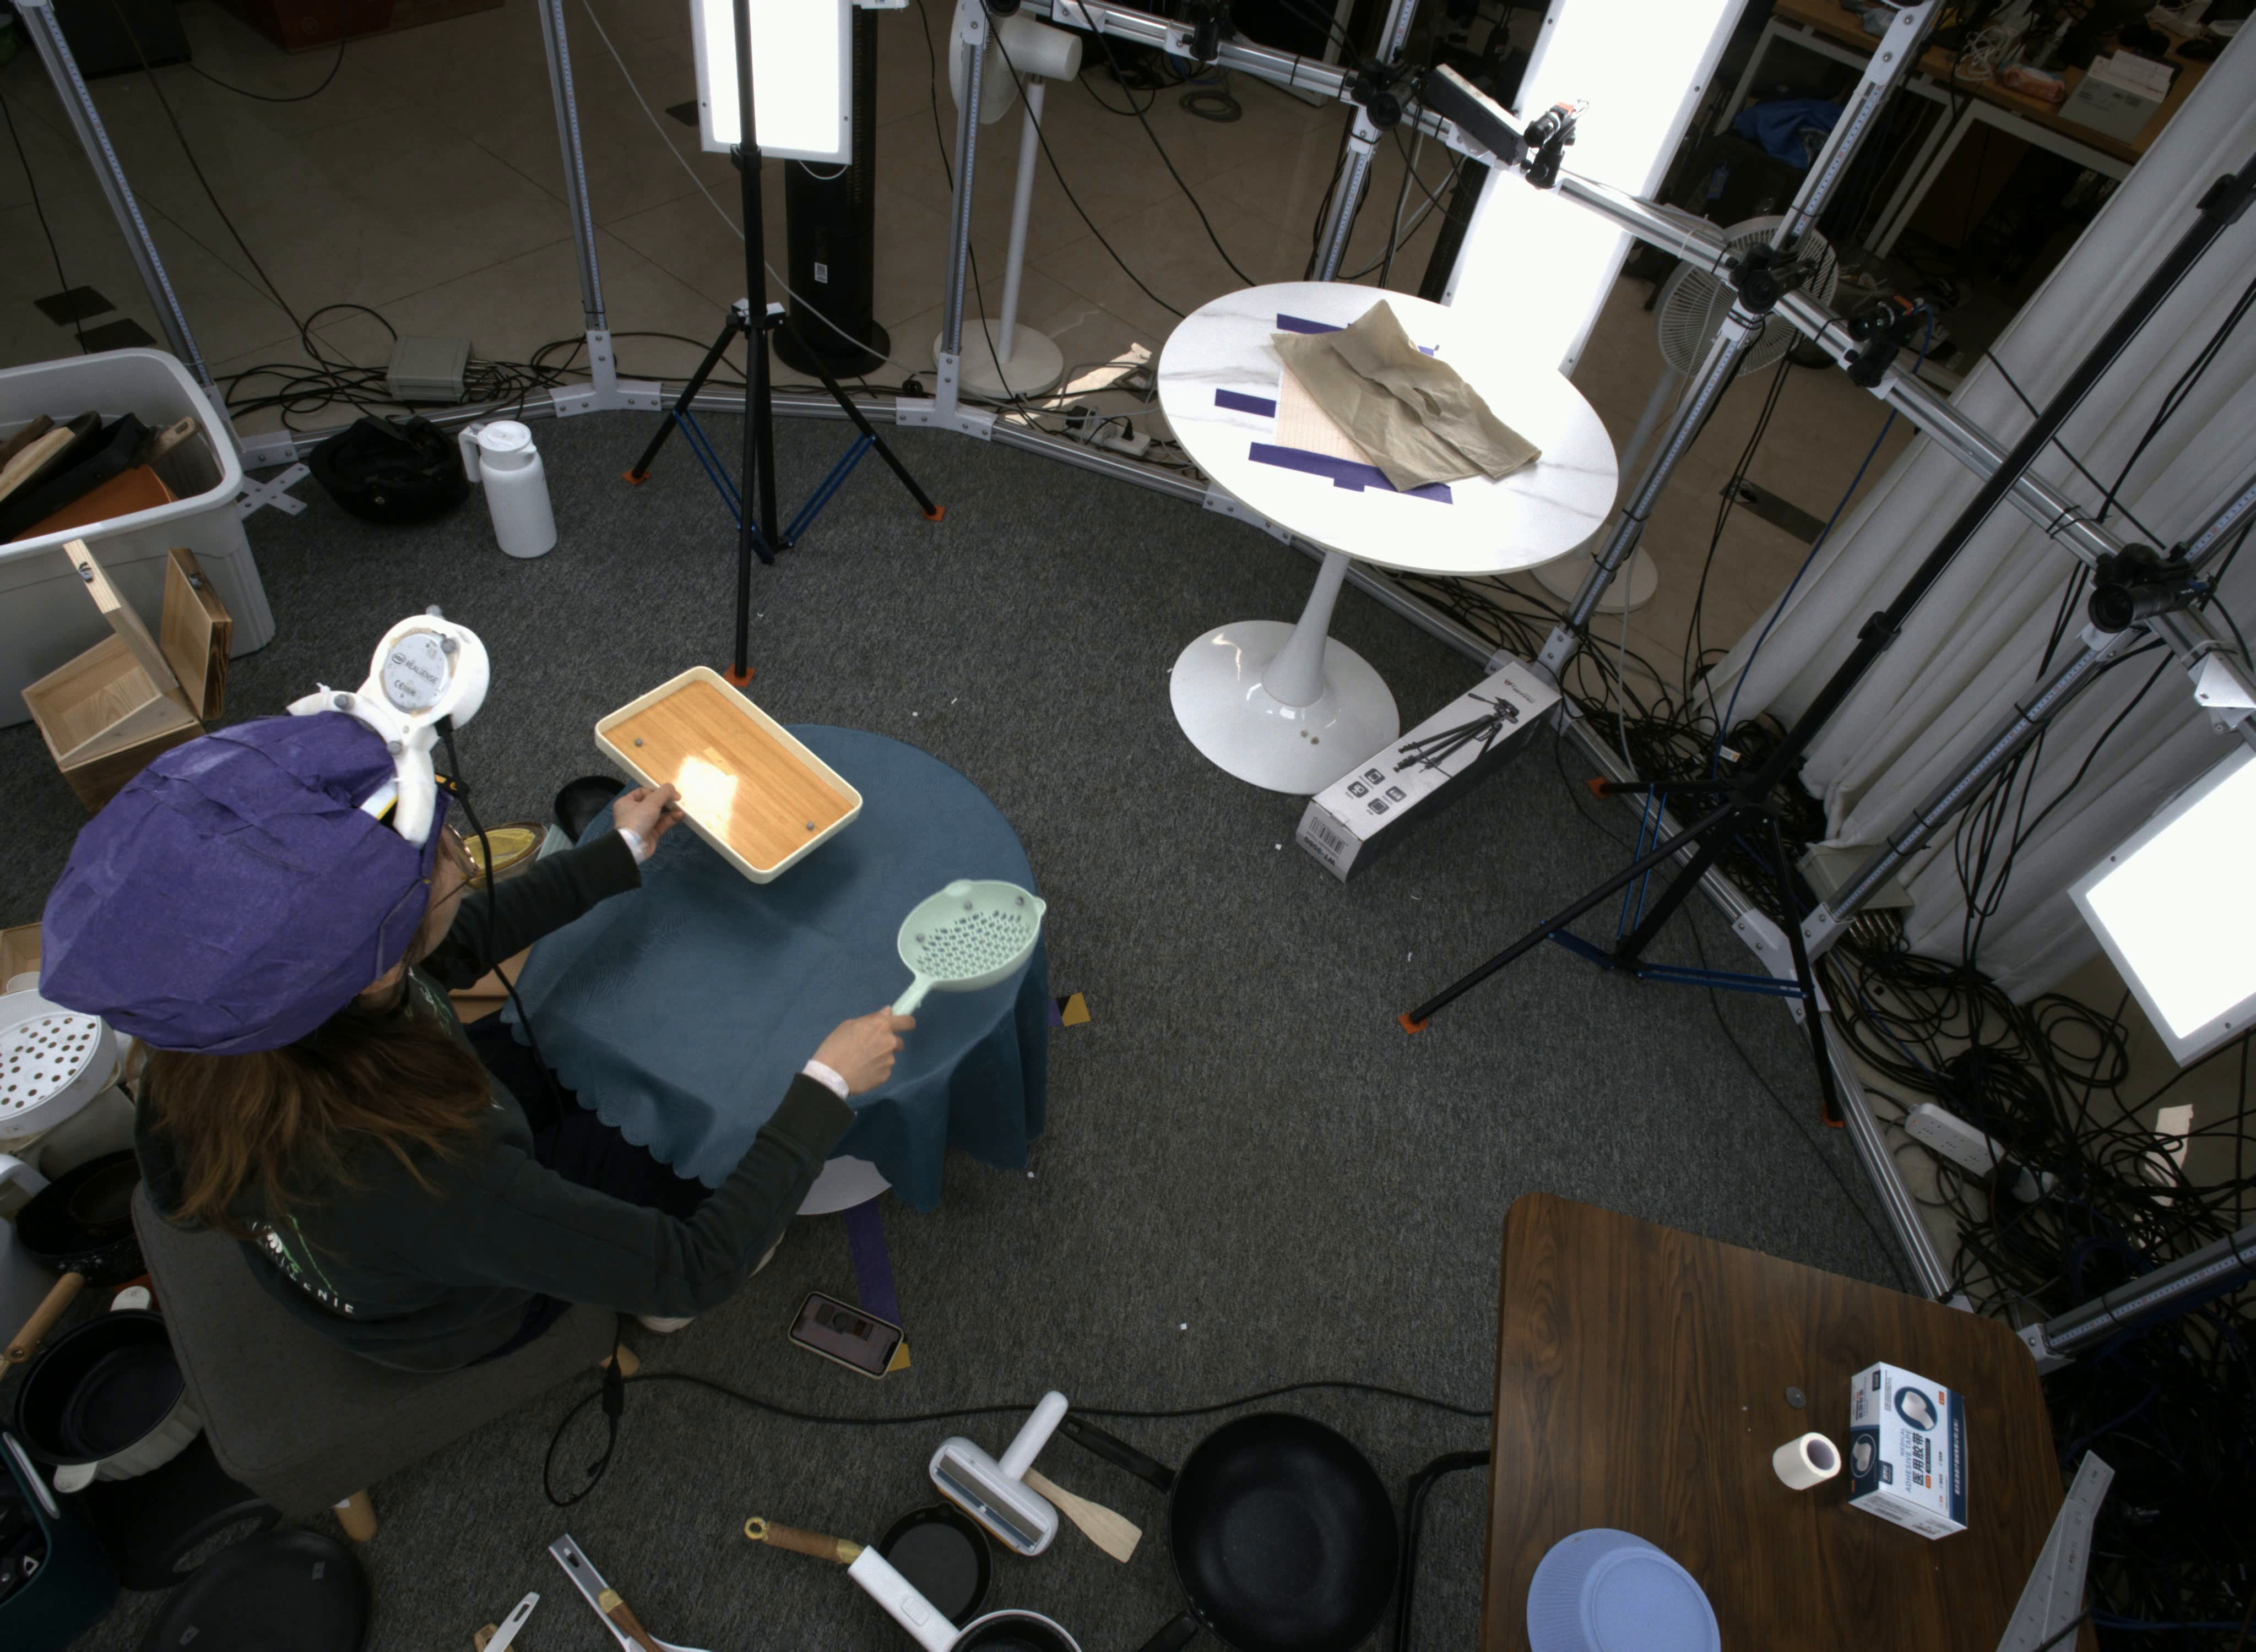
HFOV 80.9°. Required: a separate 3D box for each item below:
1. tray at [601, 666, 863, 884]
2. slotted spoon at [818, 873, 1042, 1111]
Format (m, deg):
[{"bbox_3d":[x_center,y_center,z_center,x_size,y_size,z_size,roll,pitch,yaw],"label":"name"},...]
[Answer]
[{"bbox_3d":[-0.502,-0.071,1.627,0.297,0.028,0.191,39,47,7],"label":"tray"},{"bbox_3d":[-0.232,0.176,1.457,0.164,0.078,0.358,12,34,28],"label":"slotted spoon"}]
